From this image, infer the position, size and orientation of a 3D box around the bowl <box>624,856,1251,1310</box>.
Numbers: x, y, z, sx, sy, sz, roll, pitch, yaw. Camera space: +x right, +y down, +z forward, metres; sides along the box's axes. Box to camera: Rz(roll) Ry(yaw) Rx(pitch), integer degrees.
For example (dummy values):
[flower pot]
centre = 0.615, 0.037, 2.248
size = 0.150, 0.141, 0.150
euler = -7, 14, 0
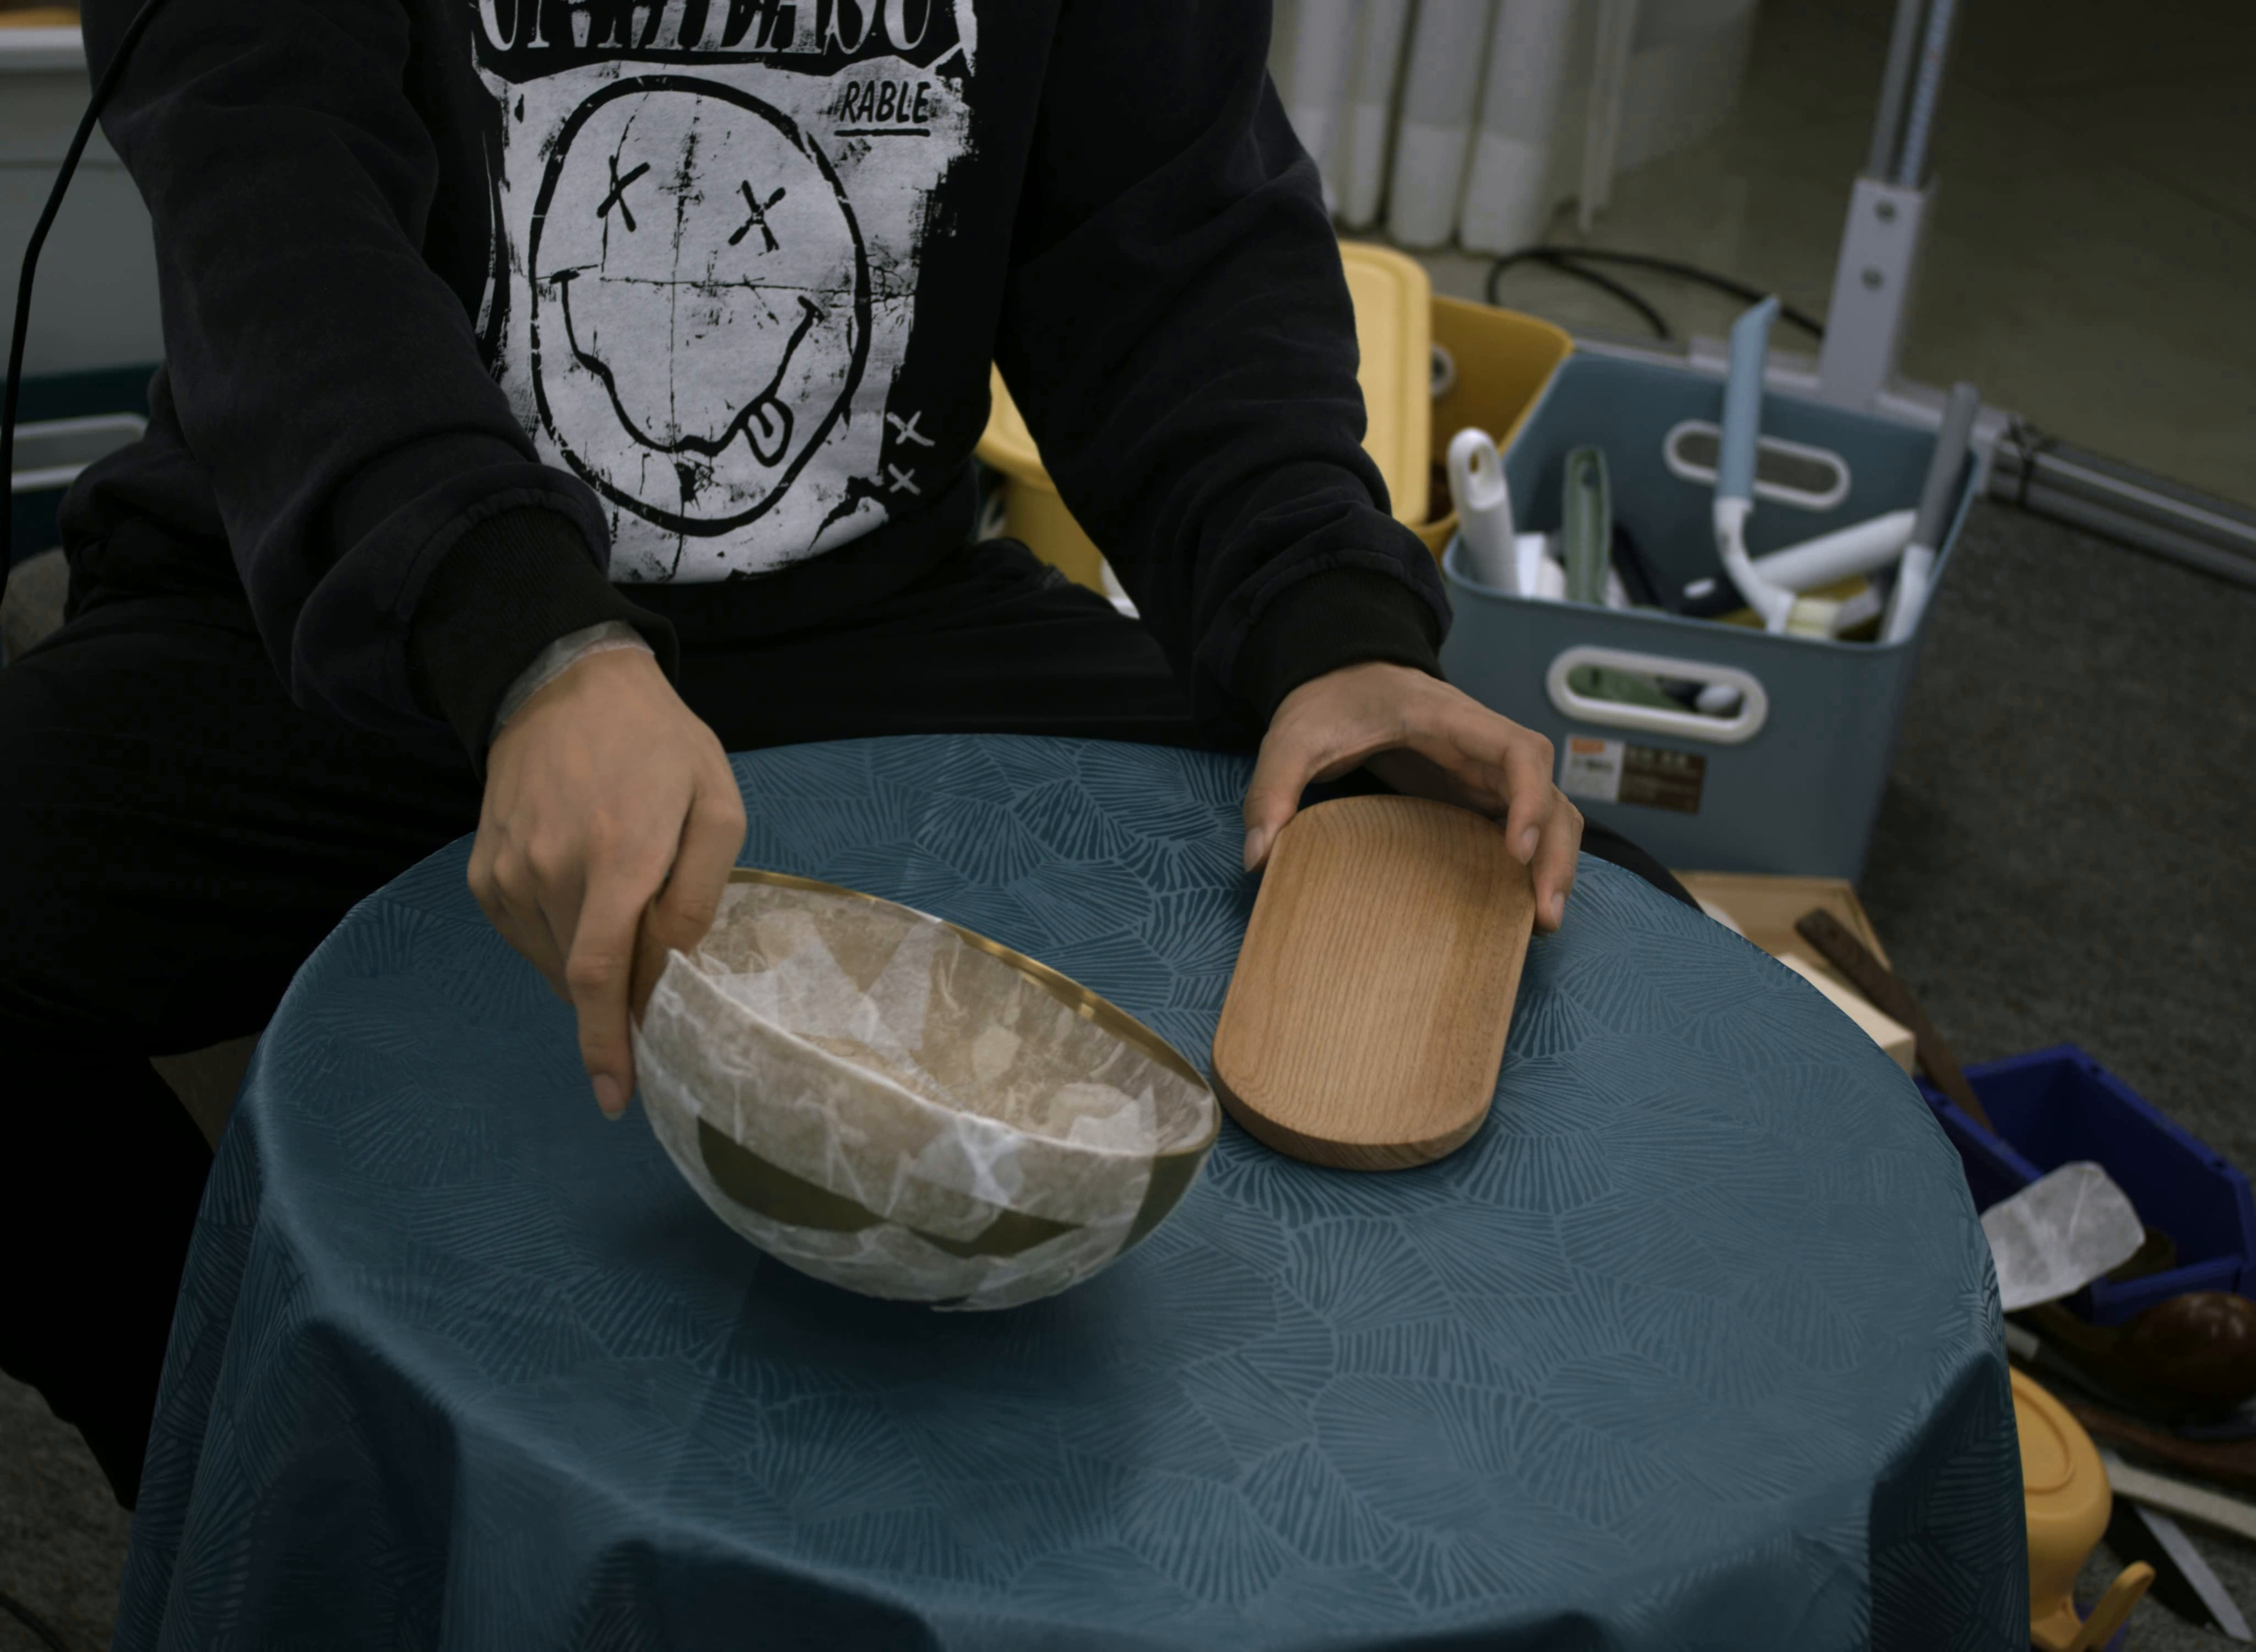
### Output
[bowl]
centre = -0.074, 0.096, 1.714
size = 0.214, 0.094, 0.215
euler = 20, 14, -6

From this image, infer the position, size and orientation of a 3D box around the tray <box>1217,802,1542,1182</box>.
[tray]
centre = 0.092, 0.057, 1.916
size = 0.101, 0.020, 0.232
euler = 7, 33, 7
